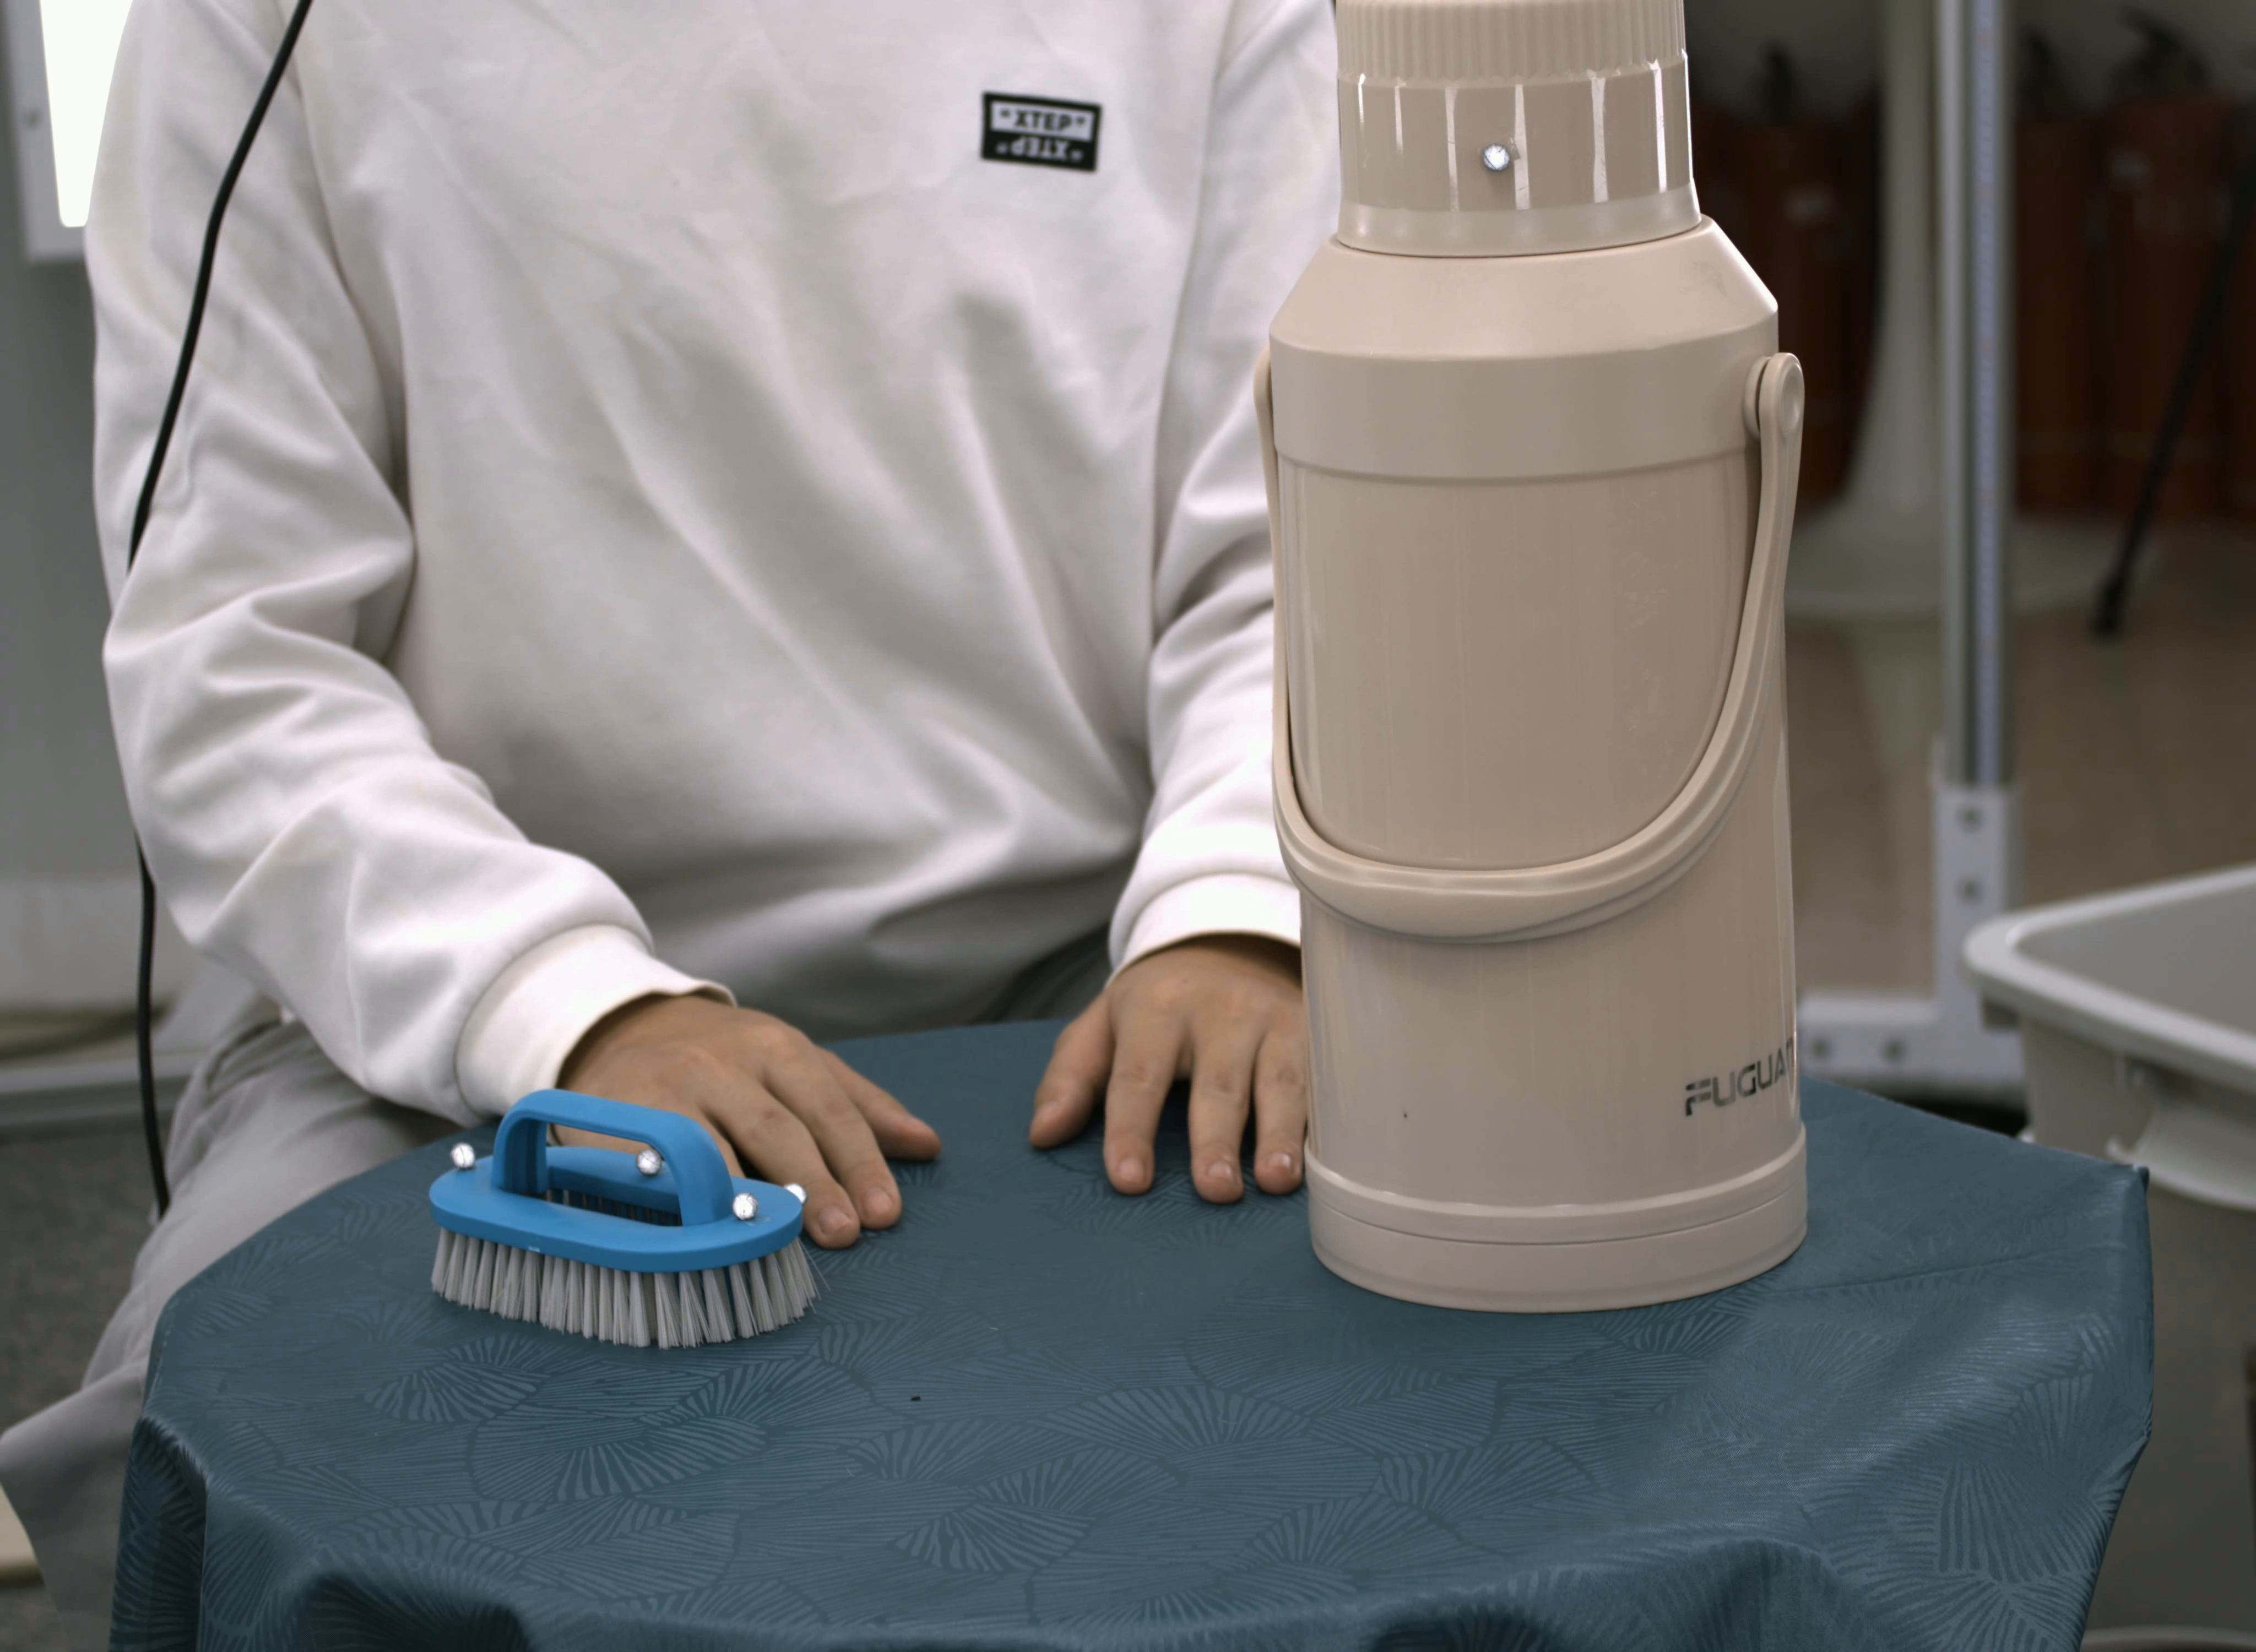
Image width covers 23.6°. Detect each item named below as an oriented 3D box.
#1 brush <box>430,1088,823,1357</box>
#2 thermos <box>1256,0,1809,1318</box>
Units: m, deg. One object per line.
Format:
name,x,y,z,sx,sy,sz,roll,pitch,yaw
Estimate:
brush,-0.161,0.117,1.699,0.143,0.064,0.083,7,22,42
thermos,0.133,-0.068,1.670,0.176,0.411,0.204,2,13,28
